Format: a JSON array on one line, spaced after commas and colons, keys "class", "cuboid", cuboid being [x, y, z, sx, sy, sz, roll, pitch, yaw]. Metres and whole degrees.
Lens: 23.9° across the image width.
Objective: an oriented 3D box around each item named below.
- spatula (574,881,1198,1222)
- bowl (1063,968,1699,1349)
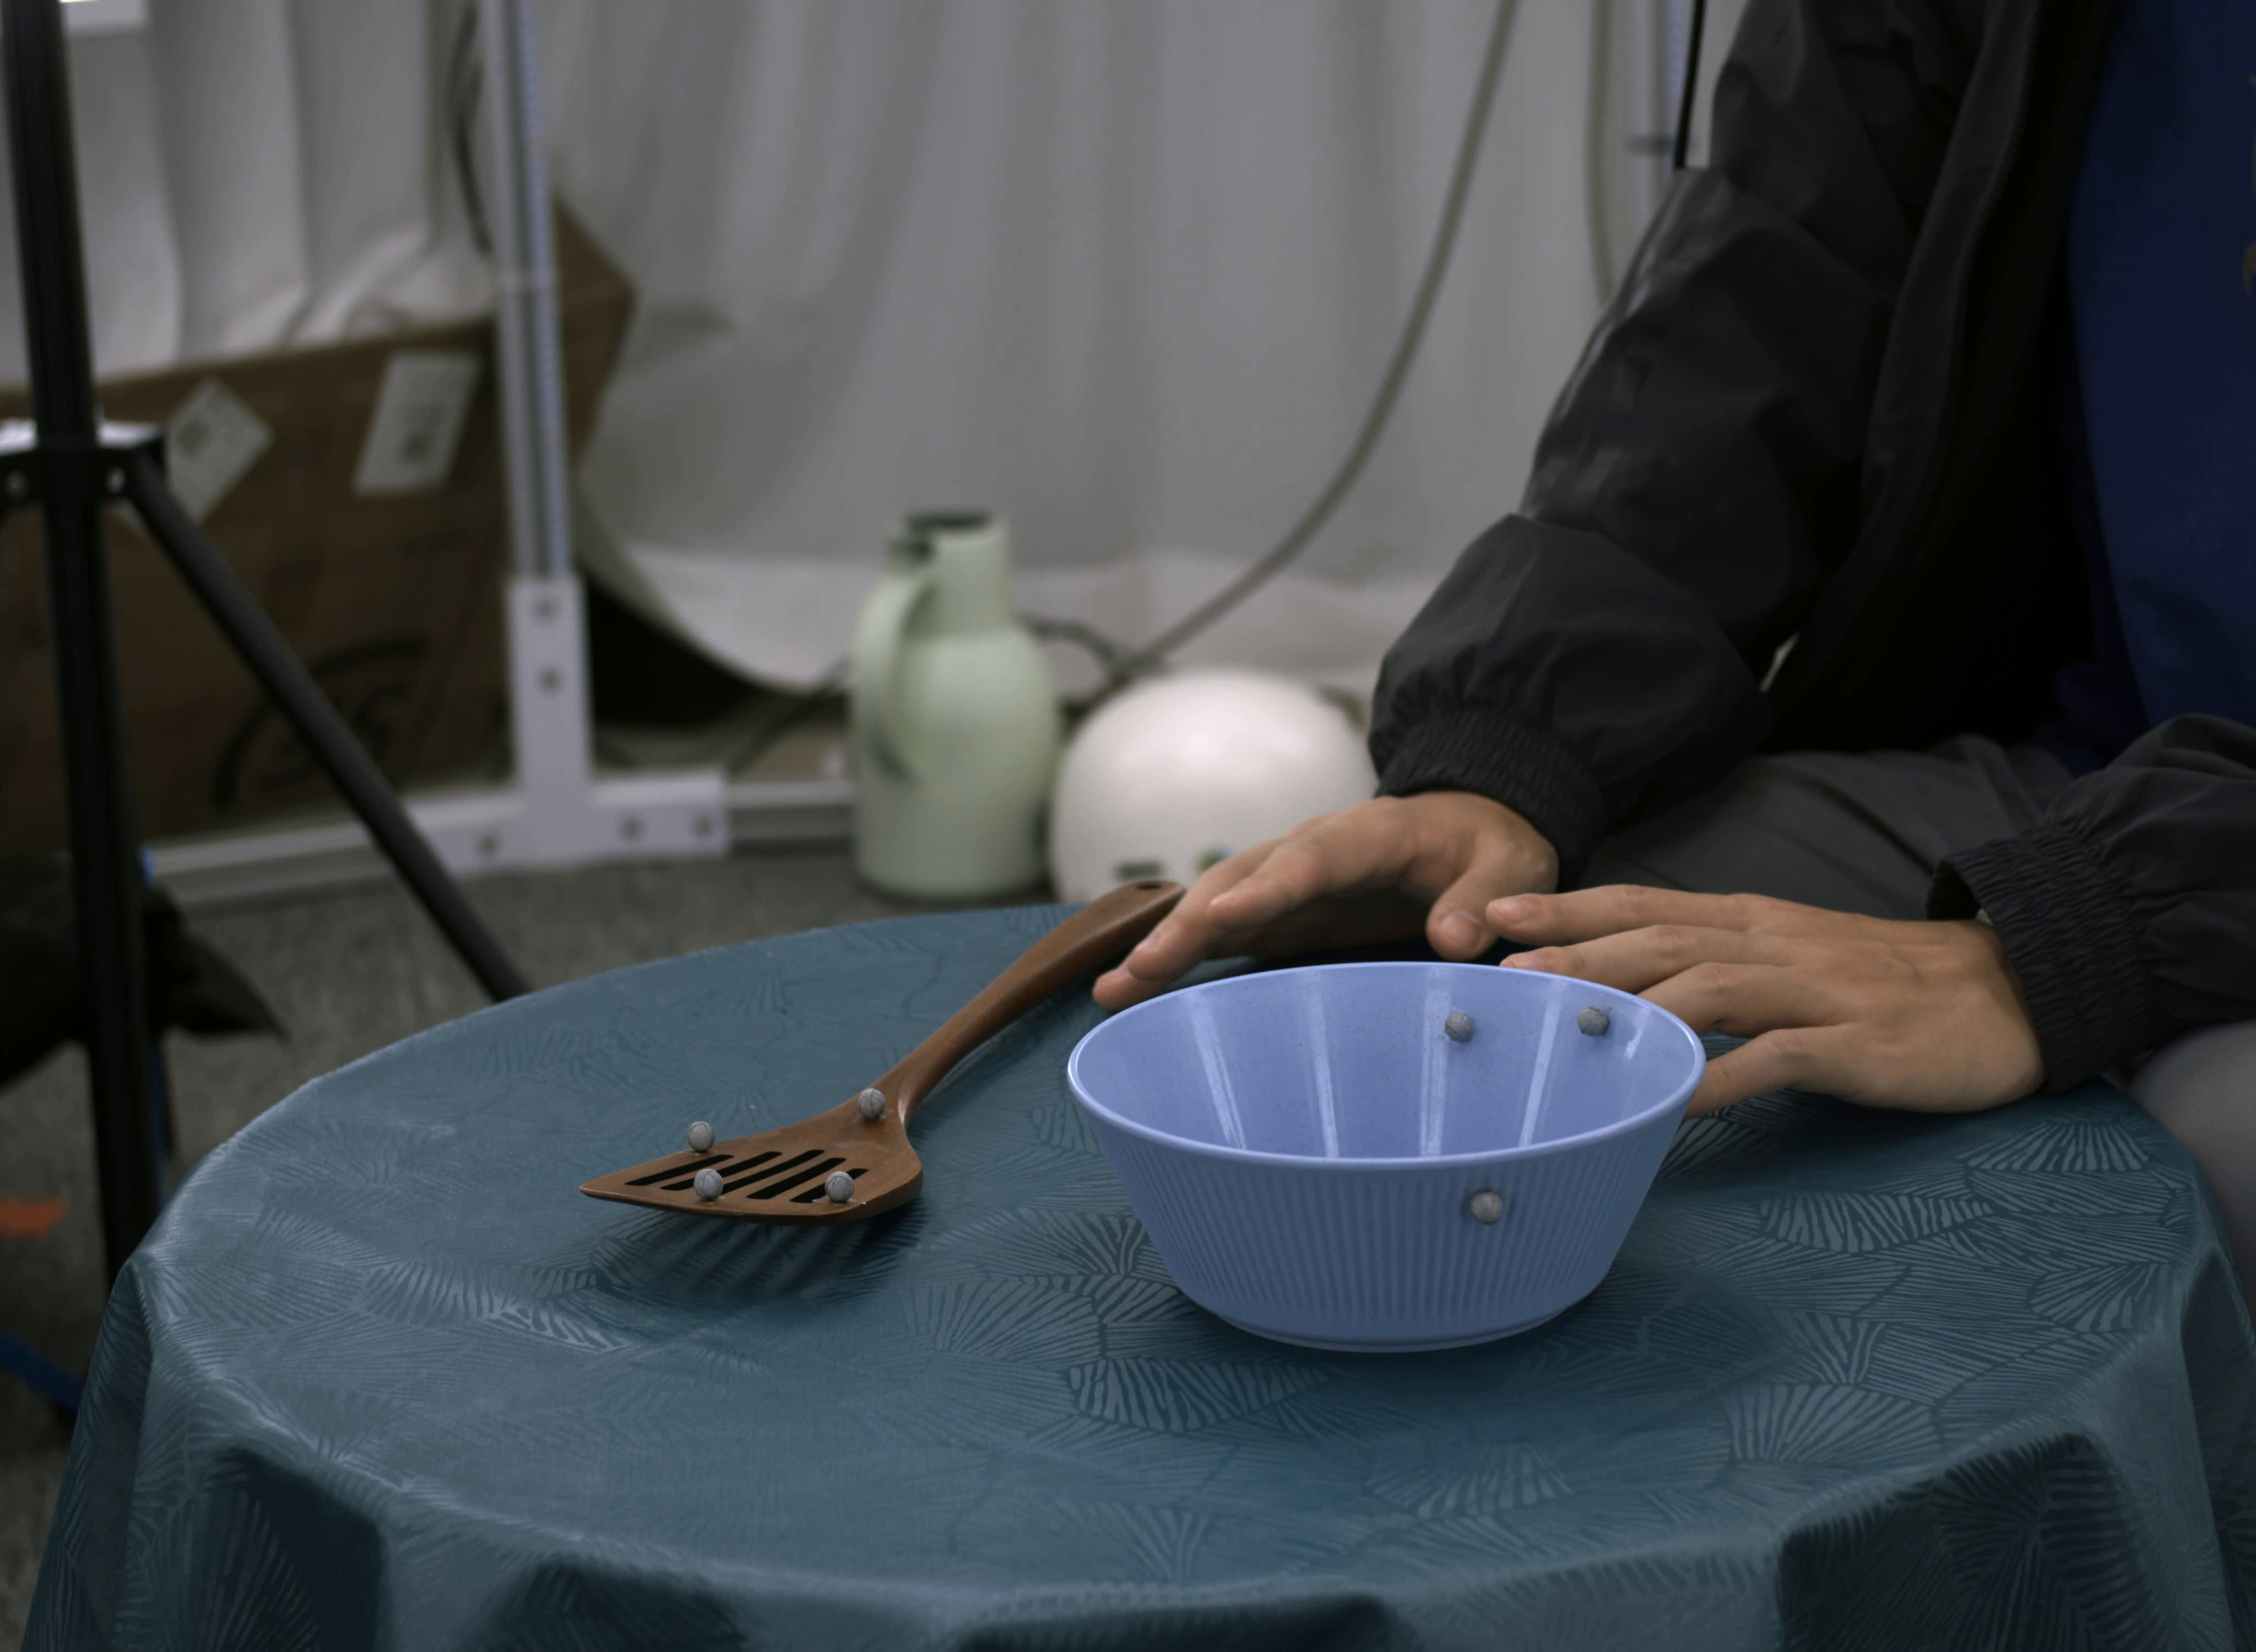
[{"class": "spatula", "cuboid": [-0.055, 0.070, 1.664, 0.086, 0.024, 0.381, 5, 16, 22]}, {"class": "bowl", "cuboid": [0.070, 0.094, 1.466, 0.175, 0.070, 0.177, -2, 15, -1]}]
